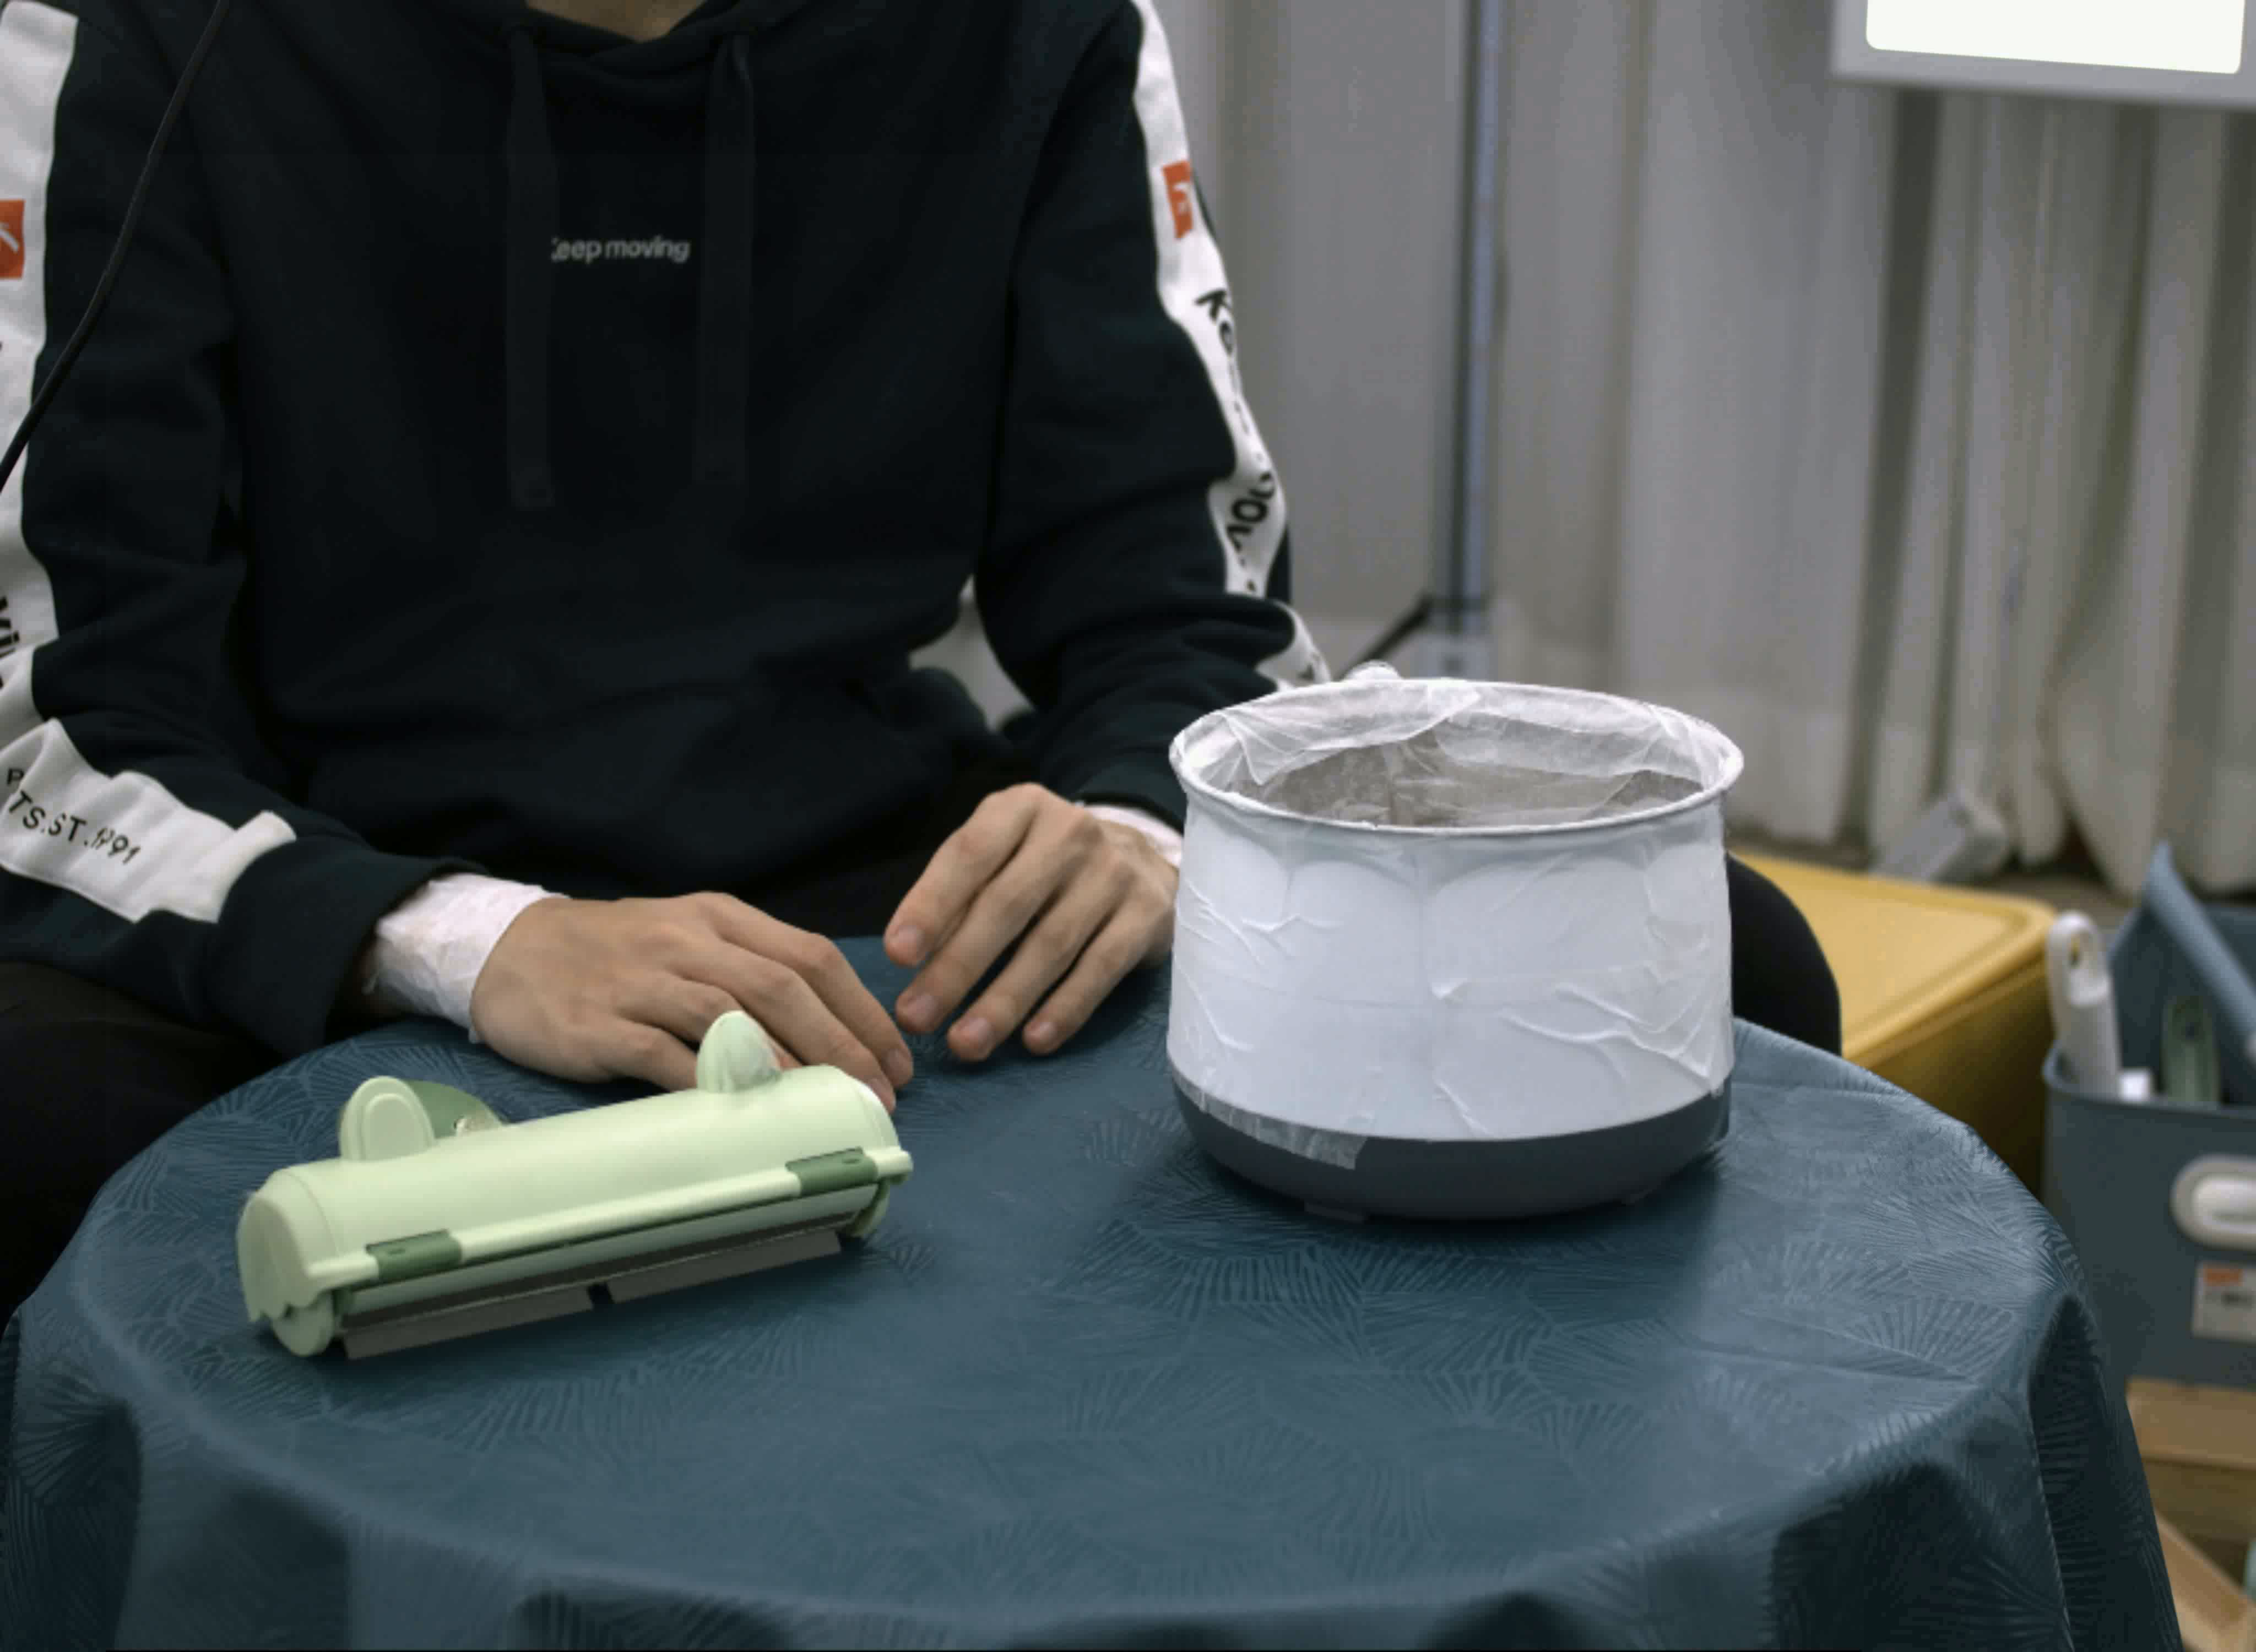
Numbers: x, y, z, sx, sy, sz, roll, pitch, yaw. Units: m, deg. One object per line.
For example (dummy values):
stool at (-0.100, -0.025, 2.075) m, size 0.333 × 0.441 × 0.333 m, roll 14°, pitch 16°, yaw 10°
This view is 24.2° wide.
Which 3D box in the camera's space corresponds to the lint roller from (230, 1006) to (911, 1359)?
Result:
lint roller at (-0.190, 0.087, 1.565) m, size 0.199 × 0.083 × 0.181 m, roll -10°, pitch 24°, yaw -32°

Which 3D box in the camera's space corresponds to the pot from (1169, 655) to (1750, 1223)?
pot at (0.095, 0.030, 1.658) m, size 0.179 × 0.138 × 0.231 m, roll -3°, pitch 17°, yaw -13°
